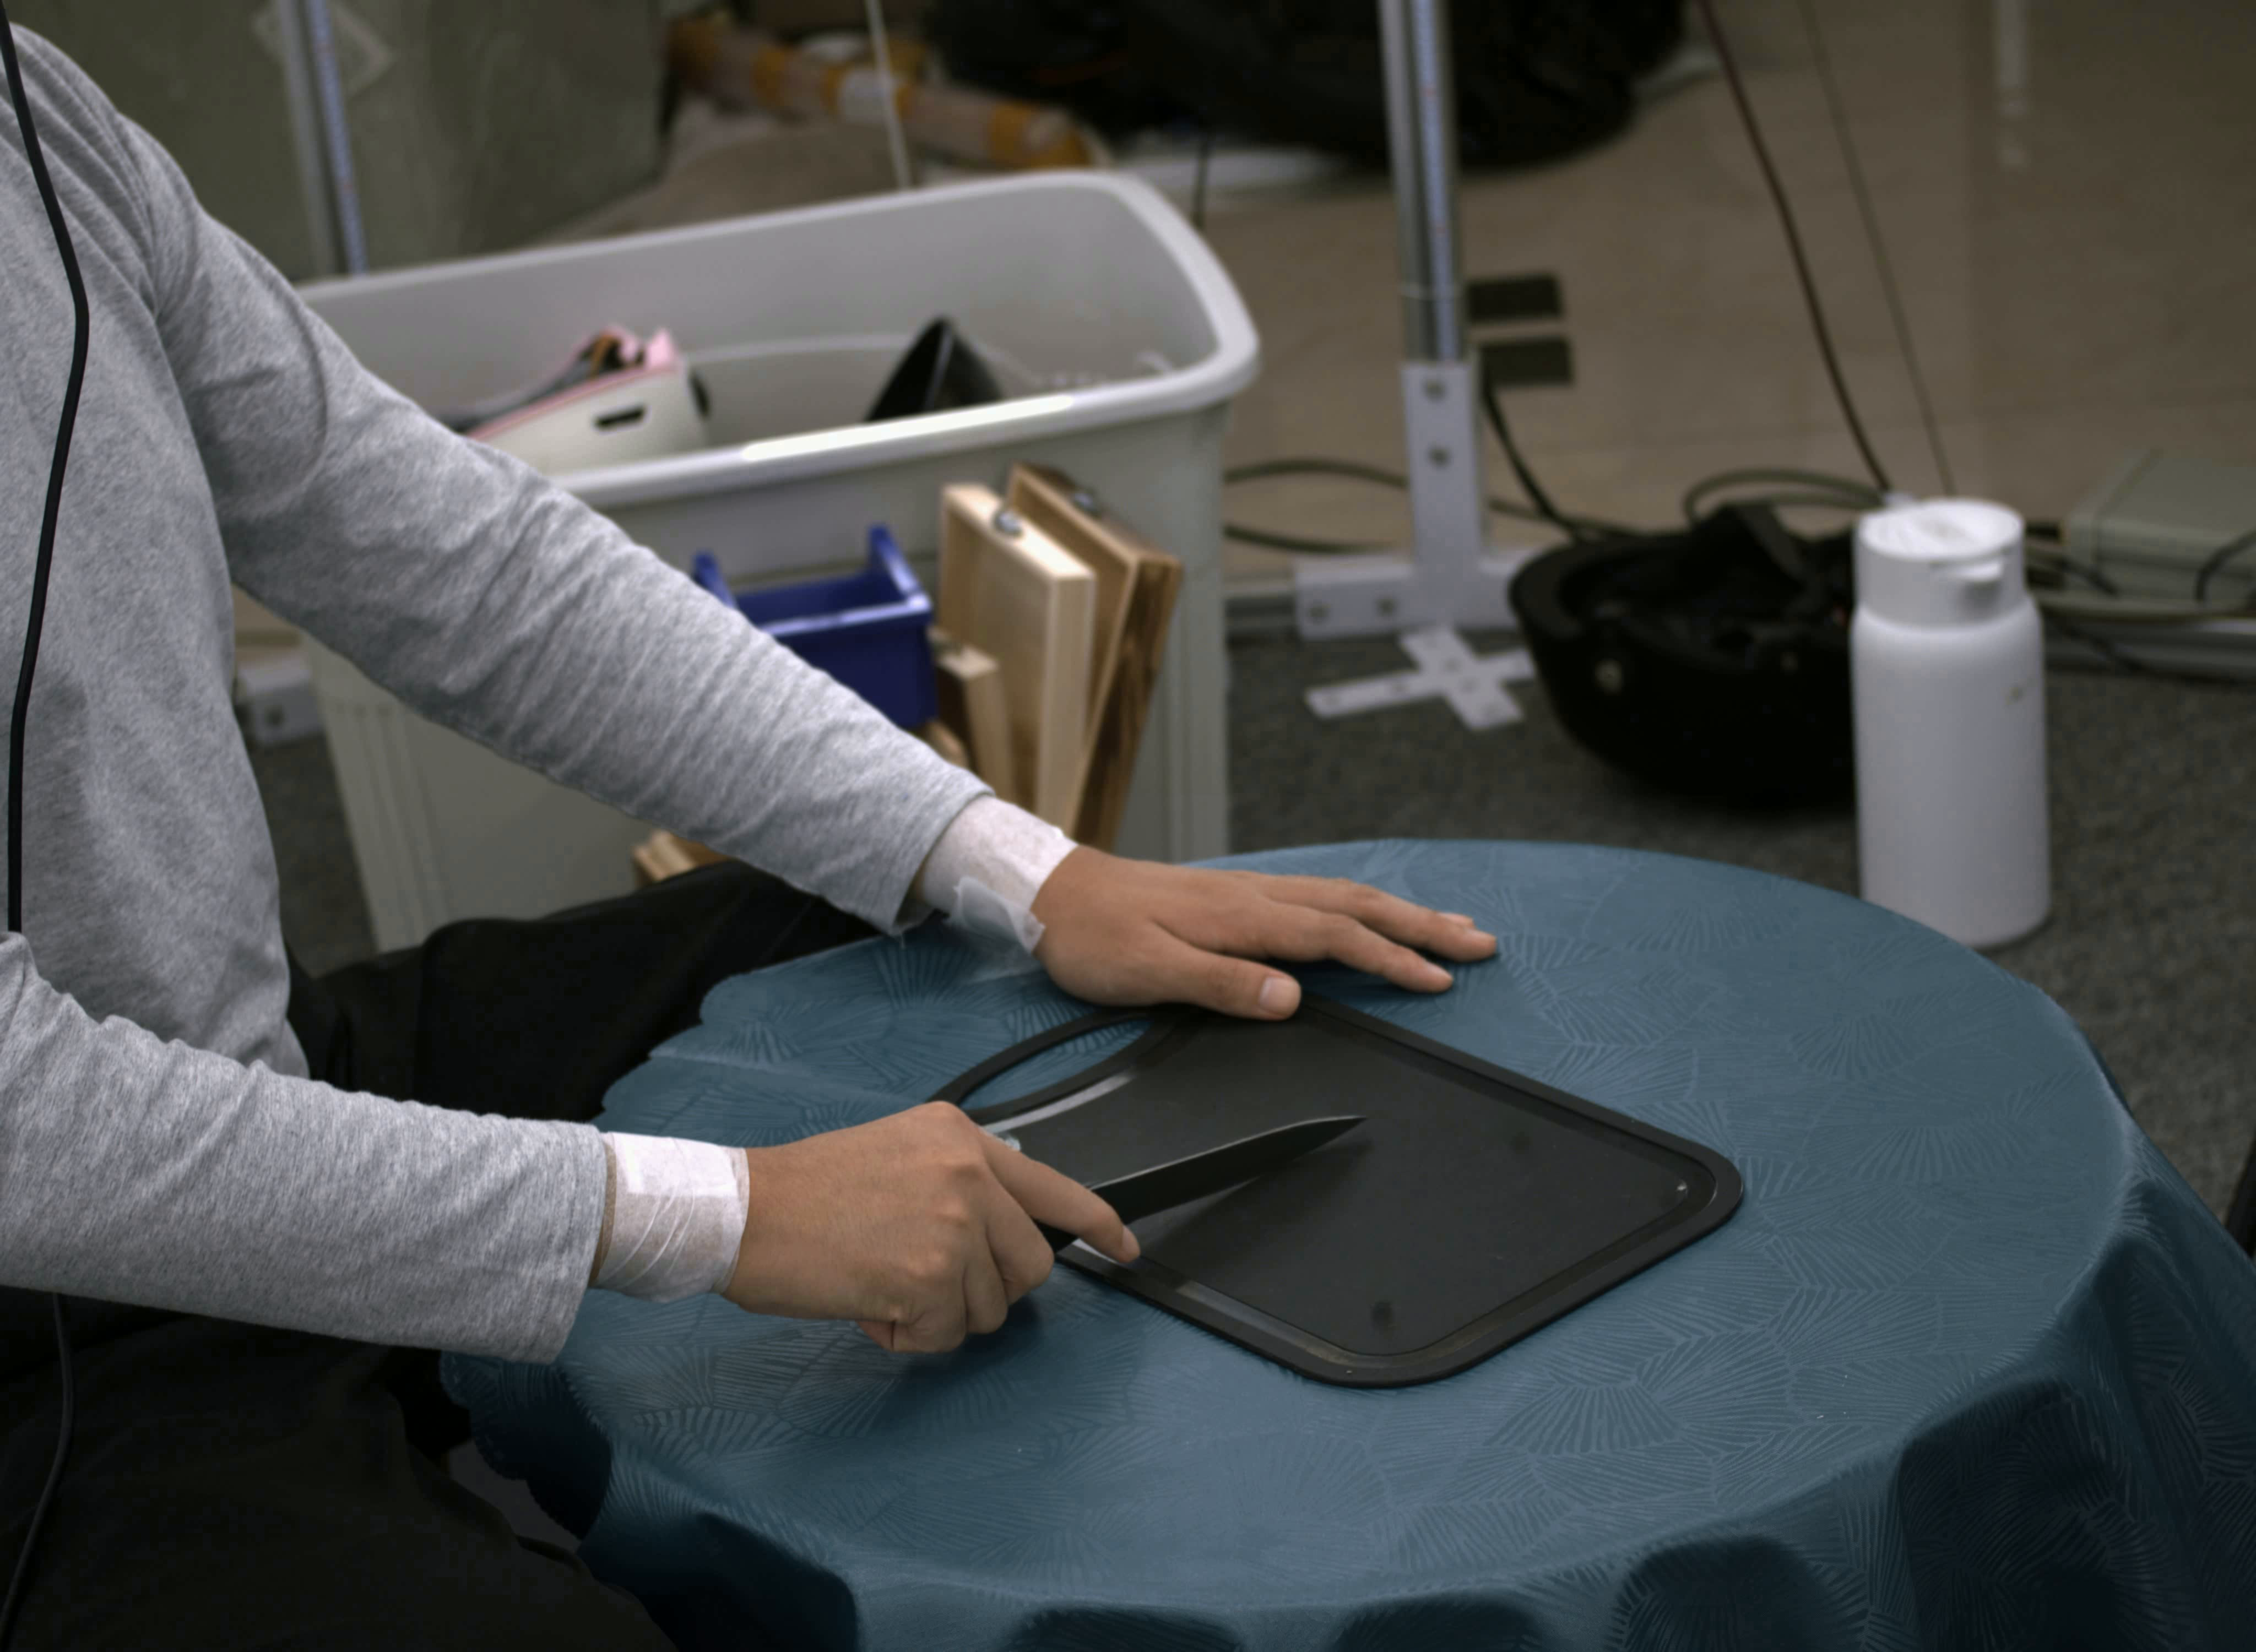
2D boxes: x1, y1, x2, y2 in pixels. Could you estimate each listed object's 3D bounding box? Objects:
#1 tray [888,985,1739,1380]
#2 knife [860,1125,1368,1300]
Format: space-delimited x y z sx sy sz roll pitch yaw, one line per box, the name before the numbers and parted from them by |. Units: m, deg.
tray | 0.060 0.128 2.155 0.209 0.010 0.322 -25 30 -34
knife | -0.001 0.137 2.104 0.237 0.025 0.016 -14 41 -36
